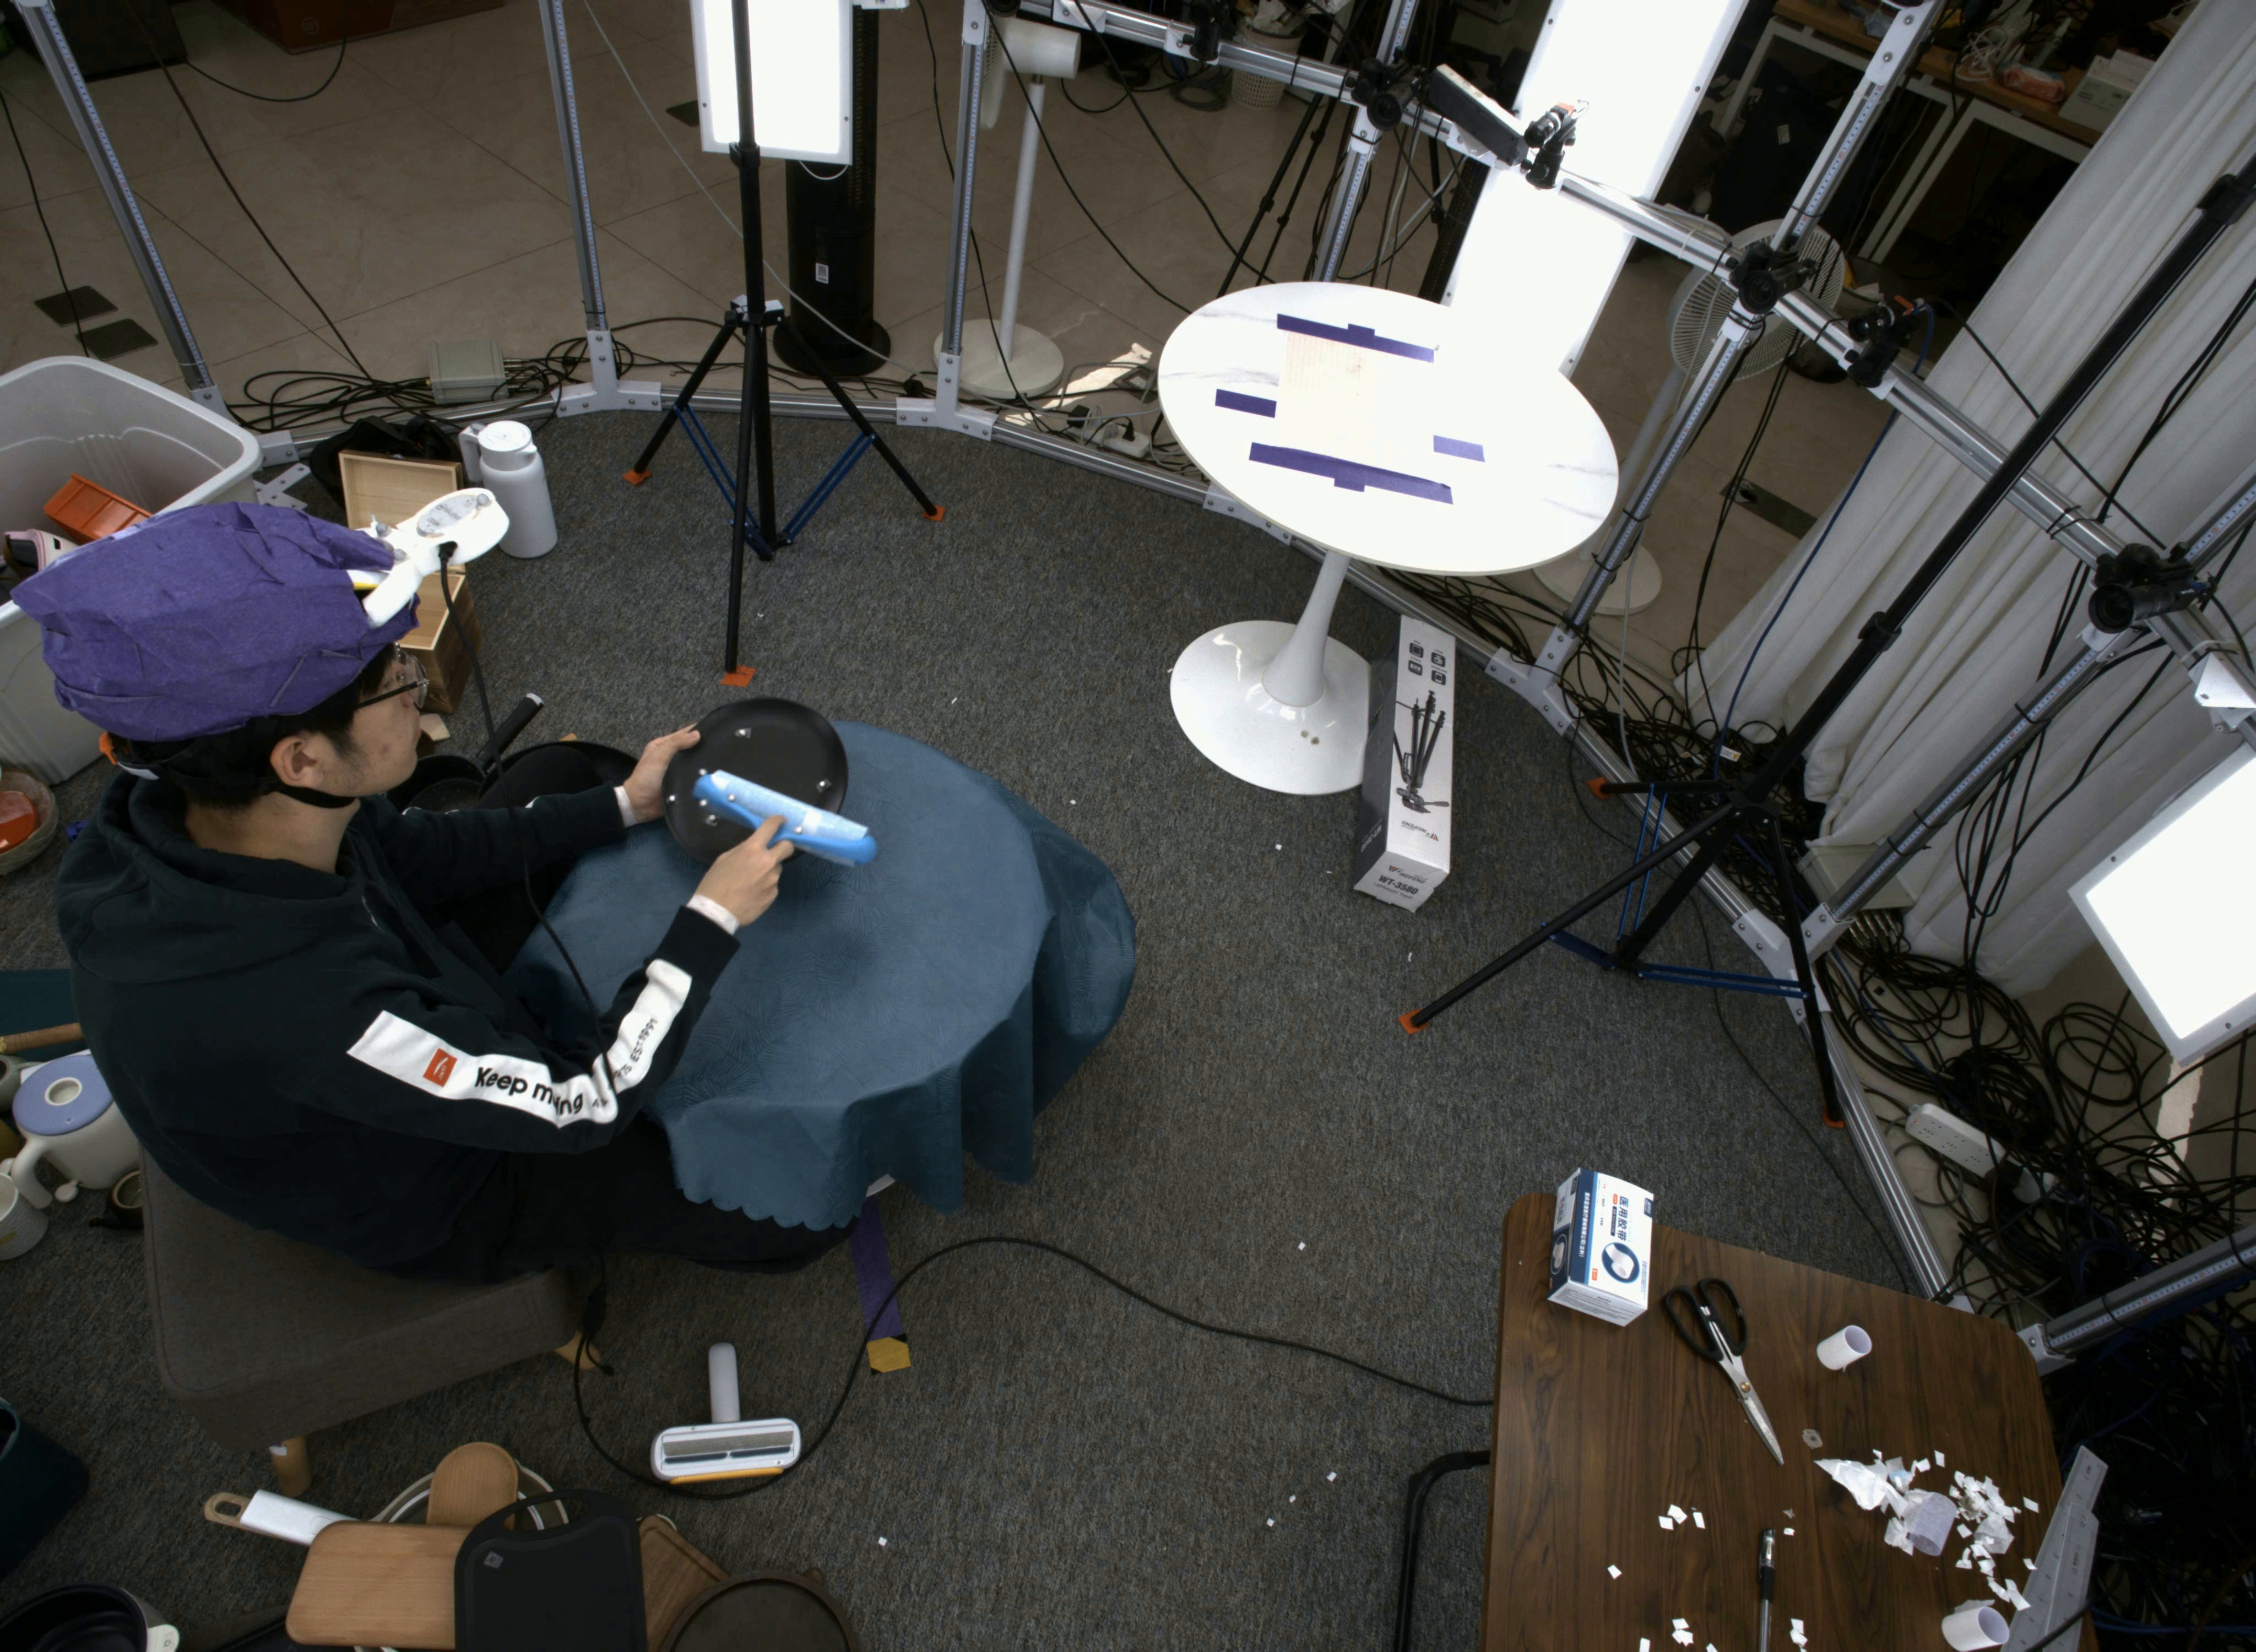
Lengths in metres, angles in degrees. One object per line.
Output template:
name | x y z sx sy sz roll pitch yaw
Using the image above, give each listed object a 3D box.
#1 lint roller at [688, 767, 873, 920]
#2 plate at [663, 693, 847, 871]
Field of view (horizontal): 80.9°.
lint roller | -0.423 0.026 1.513 0.230 0.069 0.177 21 41 -12
plate | -0.475 -0.056 1.652 0.241 0.024 0.243 0 70 2
